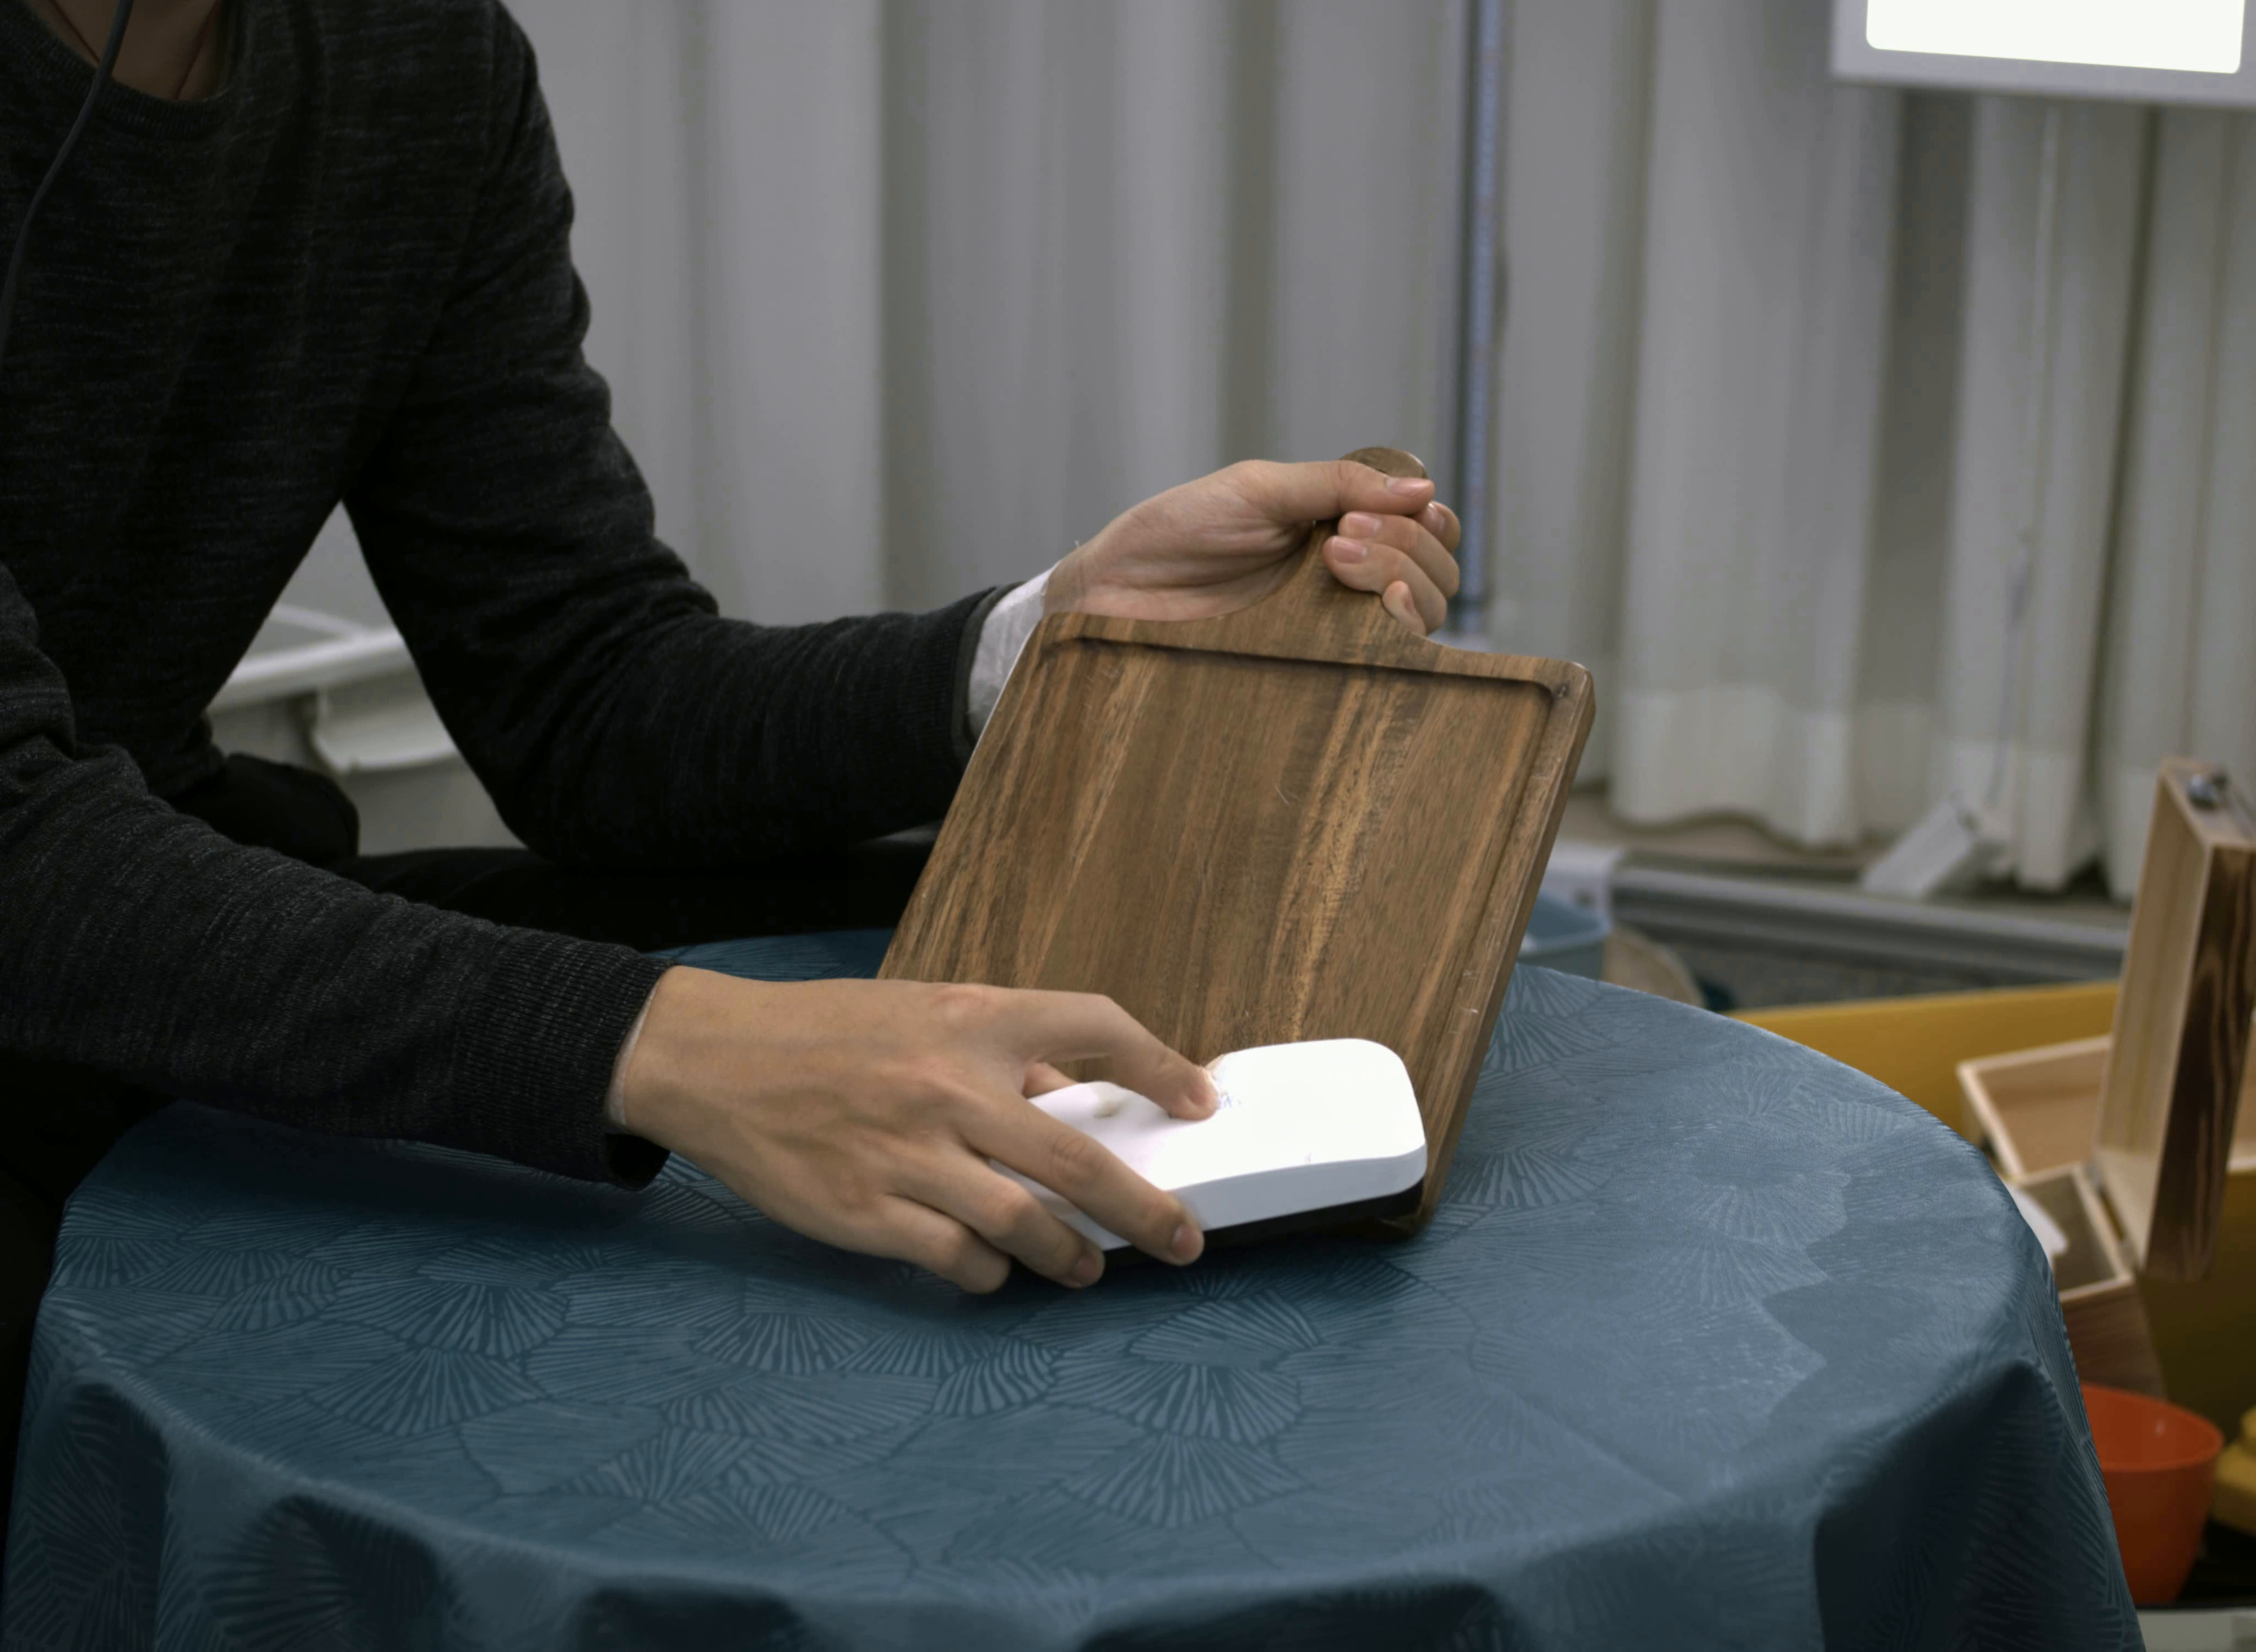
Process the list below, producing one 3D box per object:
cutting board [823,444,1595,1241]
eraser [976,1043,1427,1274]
[{"bbox_3d":[0.043,-0.007,1.713,0.199,0.023,0.350,6,45,15],"label":"cutting board"},{"bbox_3d":[0.022,0.096,1.566,0.131,0.035,0.062,-9,35,-6],"label":"eraser"}]
